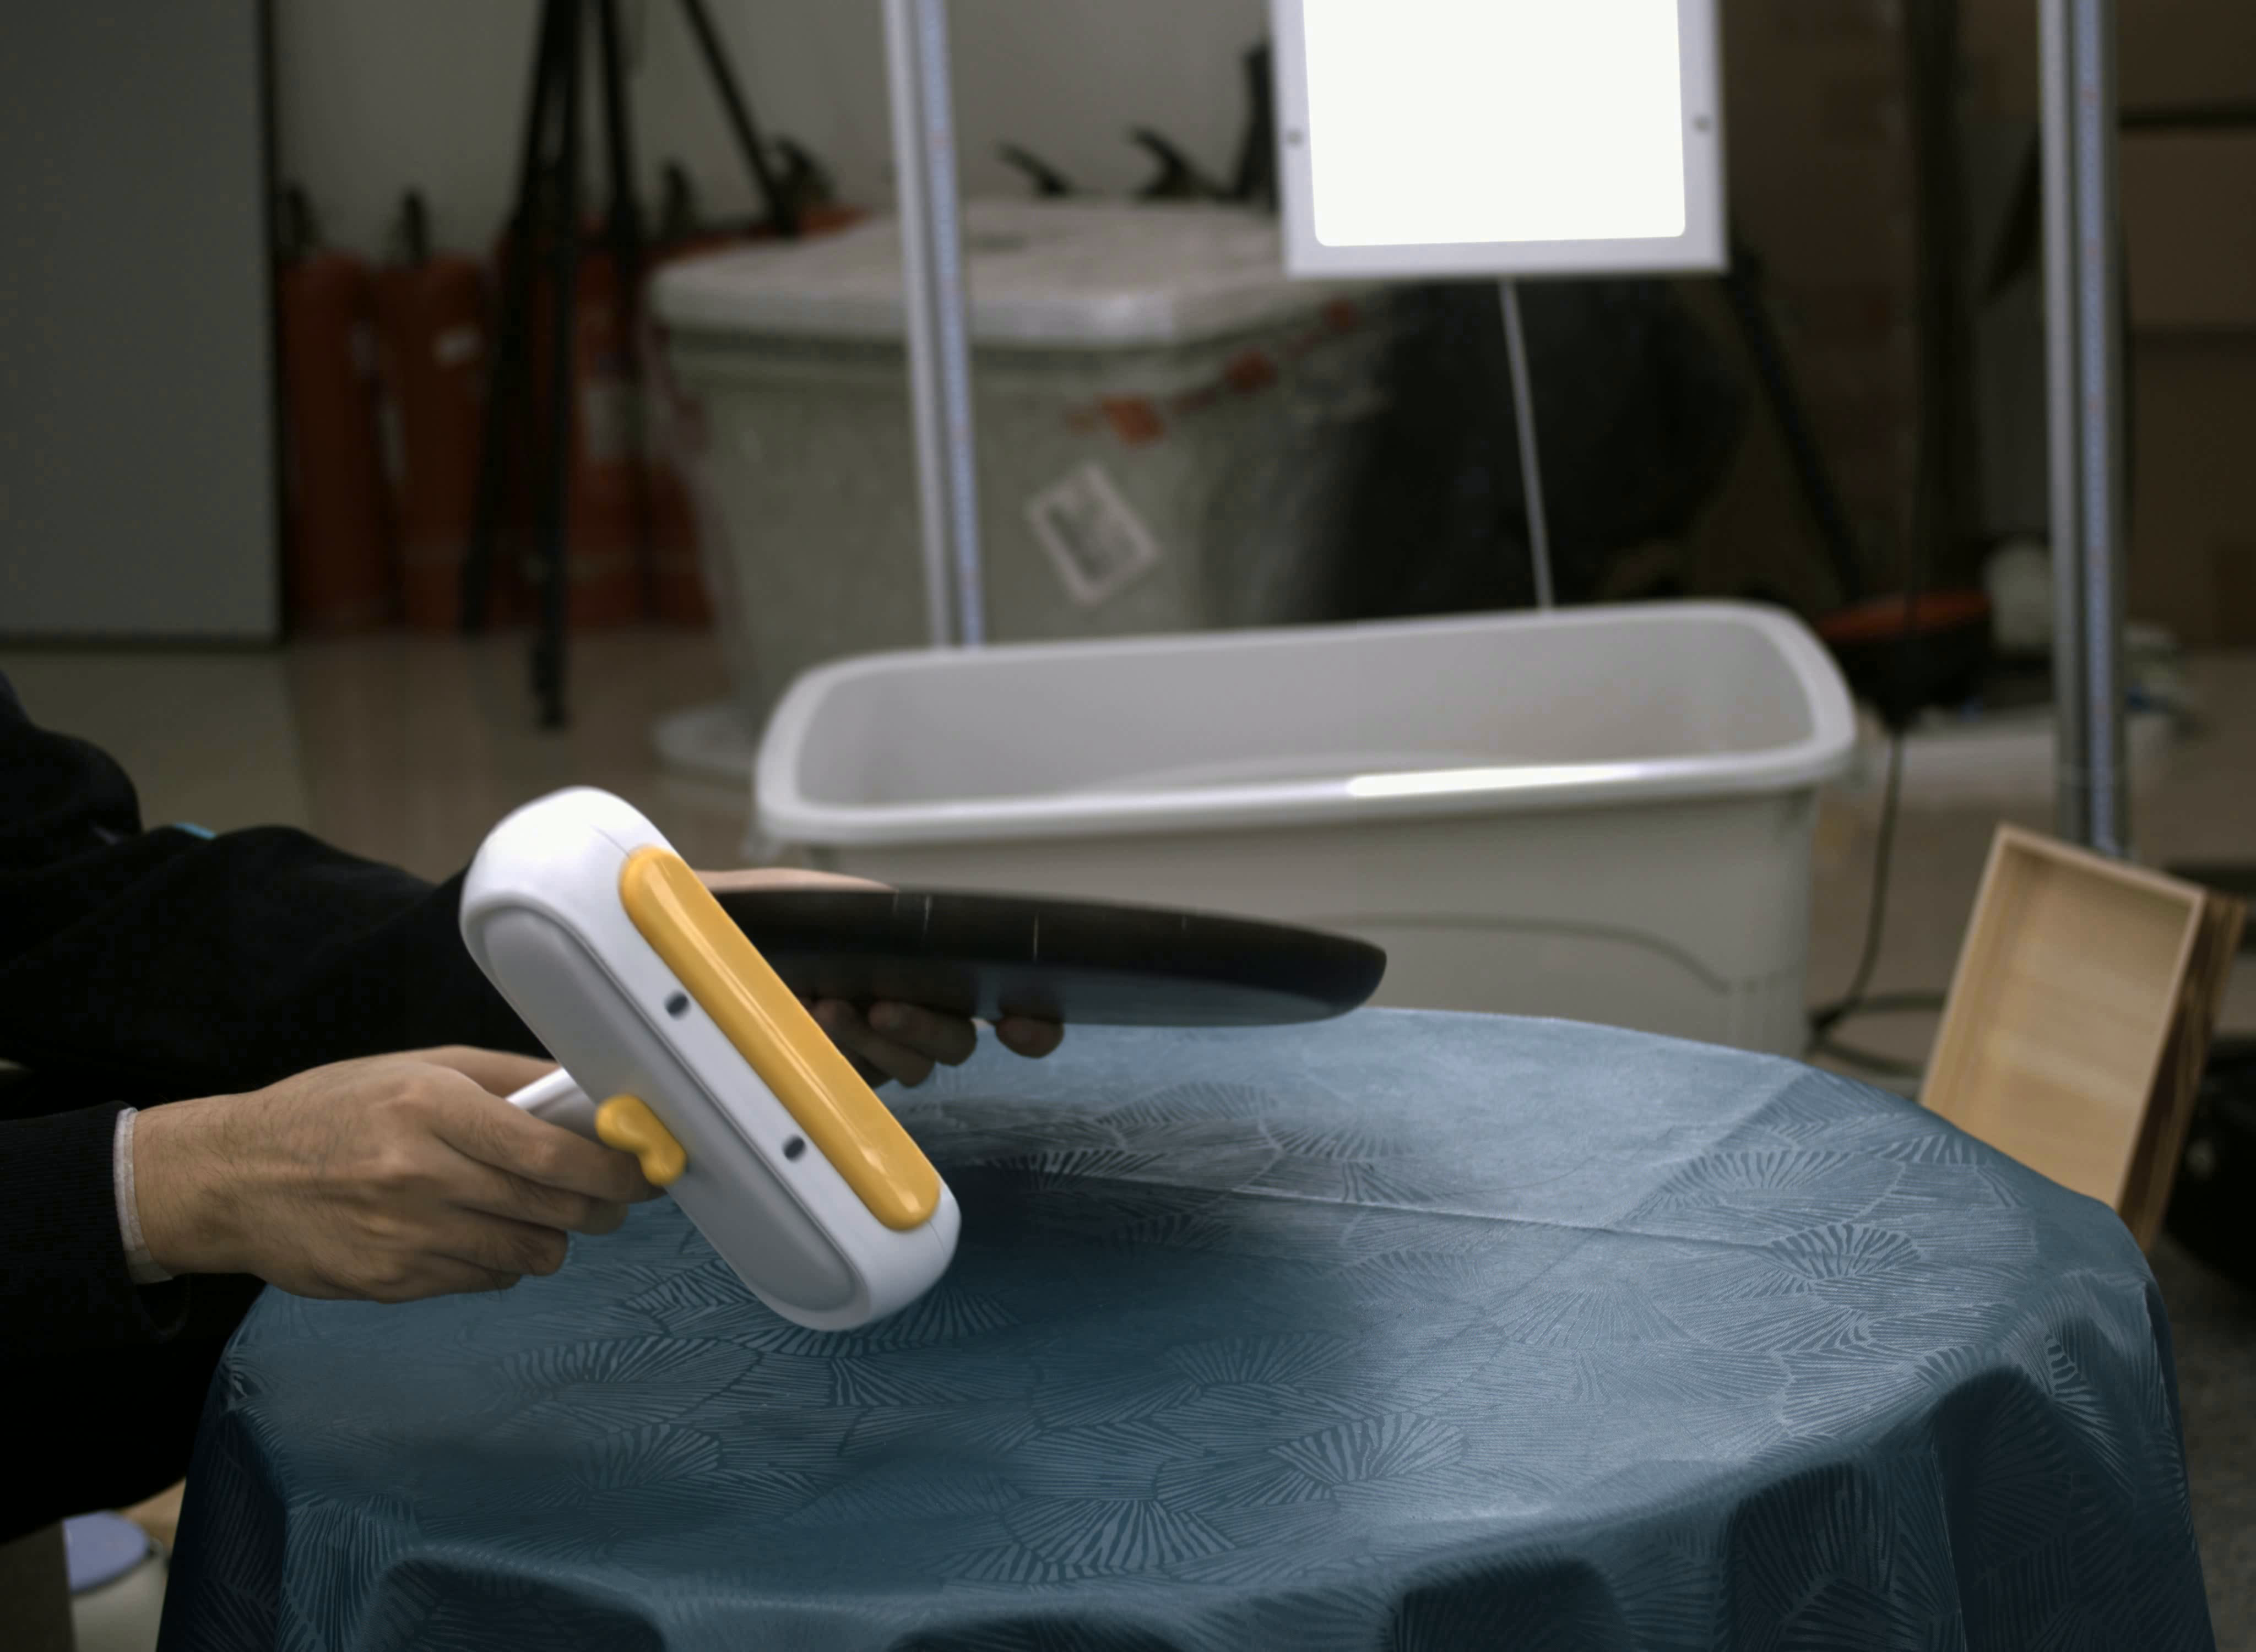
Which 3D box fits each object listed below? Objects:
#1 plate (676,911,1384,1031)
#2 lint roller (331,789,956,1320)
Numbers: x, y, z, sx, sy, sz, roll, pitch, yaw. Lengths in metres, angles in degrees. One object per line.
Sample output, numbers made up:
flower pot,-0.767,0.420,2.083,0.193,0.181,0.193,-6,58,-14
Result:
plate,-0.039,0.049,1.870,0.254,0.029,0.255,2,-5,-1
lint roller,-0.170,0.092,1.684,0.197,0.191,0.073,-26,27,44
